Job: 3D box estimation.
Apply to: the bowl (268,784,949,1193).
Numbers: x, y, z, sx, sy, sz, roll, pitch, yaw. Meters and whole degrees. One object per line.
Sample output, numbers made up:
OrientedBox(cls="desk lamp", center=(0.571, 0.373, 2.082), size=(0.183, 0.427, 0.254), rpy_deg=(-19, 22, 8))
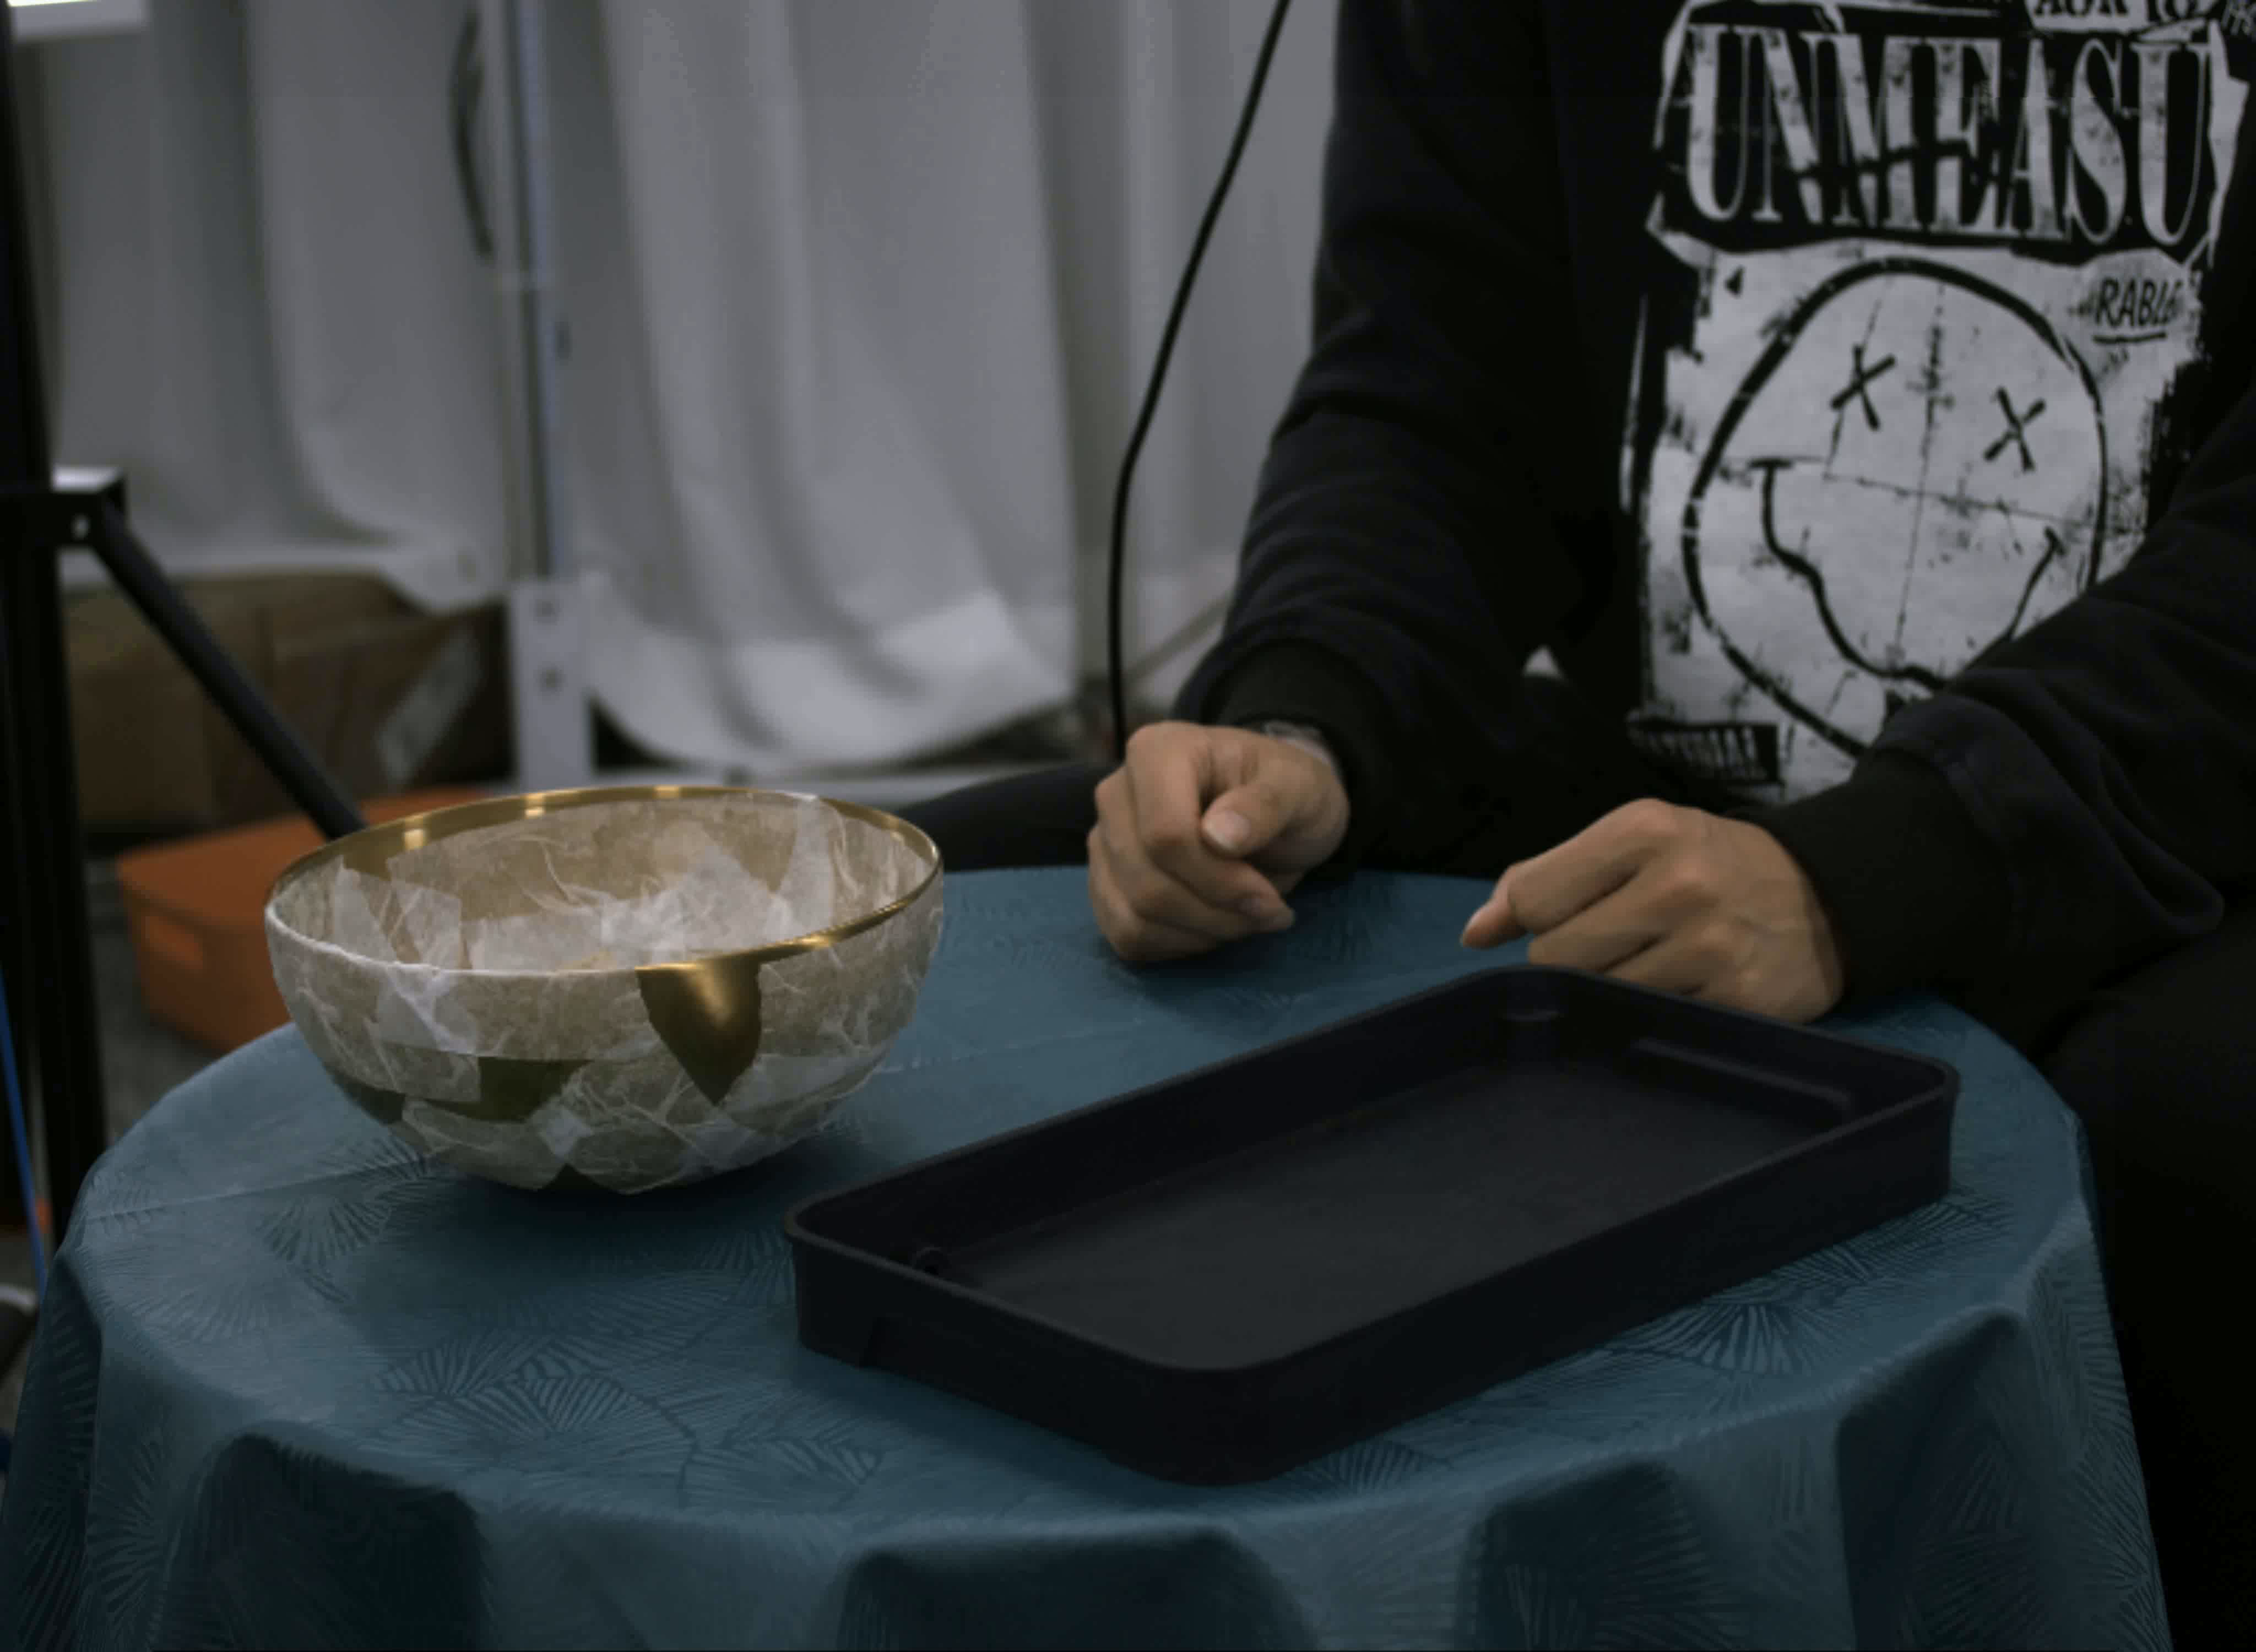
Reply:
OrientedBox(cls="bowl", center=(-0.149, 0.055, 1.599), size=(0.213, 0.094, 0.216), rpy_deg=(-4, 15, 0))

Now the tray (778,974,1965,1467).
OrientedBox(cls="tray", center=(0.073, 0.104, 1.487), size=(0.310, 0.037, 0.188), rpy_deg=(-14, 18, -39))
